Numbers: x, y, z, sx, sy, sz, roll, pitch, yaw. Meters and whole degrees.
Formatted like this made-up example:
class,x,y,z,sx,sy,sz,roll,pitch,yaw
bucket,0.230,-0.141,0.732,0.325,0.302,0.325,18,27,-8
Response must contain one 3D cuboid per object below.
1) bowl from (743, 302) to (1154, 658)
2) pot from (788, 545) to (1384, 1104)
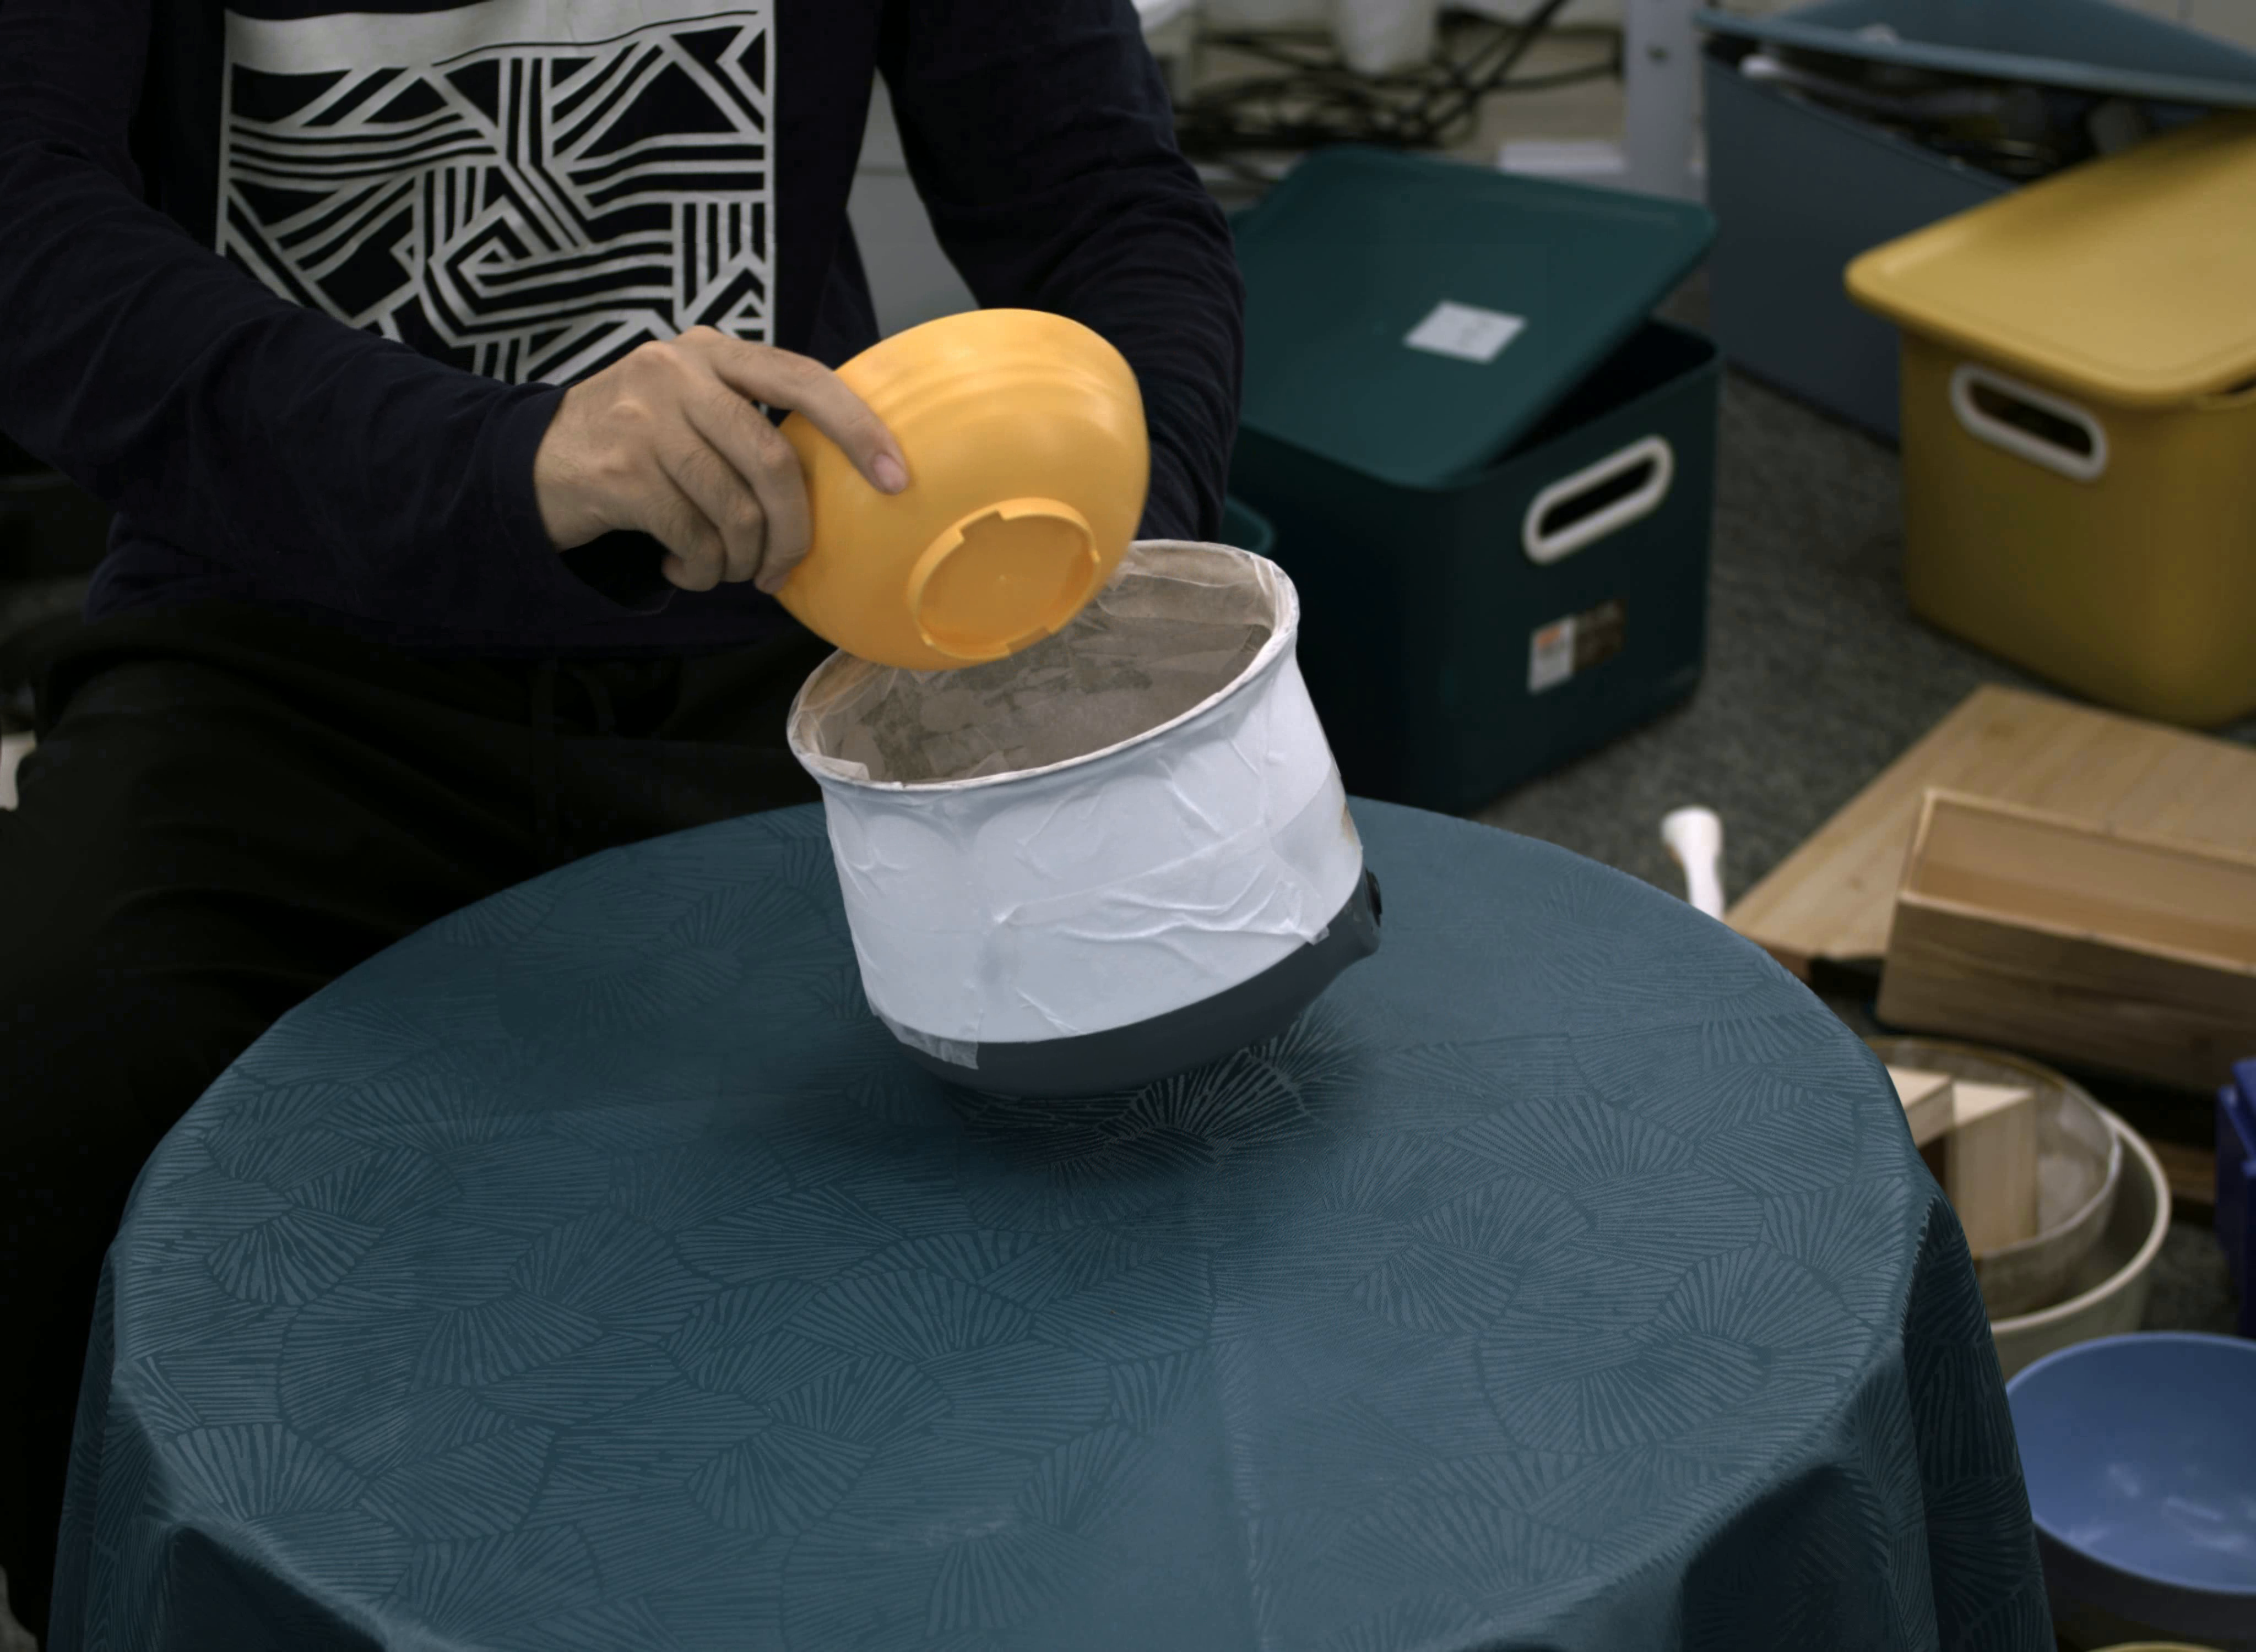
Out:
class,x,y,z,sx,sy,sz,roll,pitch,yaw
bowl,-0.052,-0.101,1.875,0.145,0.143,0.061,-11,50,-16
pot,-0.013,-0.010,1.923,0.178,0.135,0.237,-13,23,5
